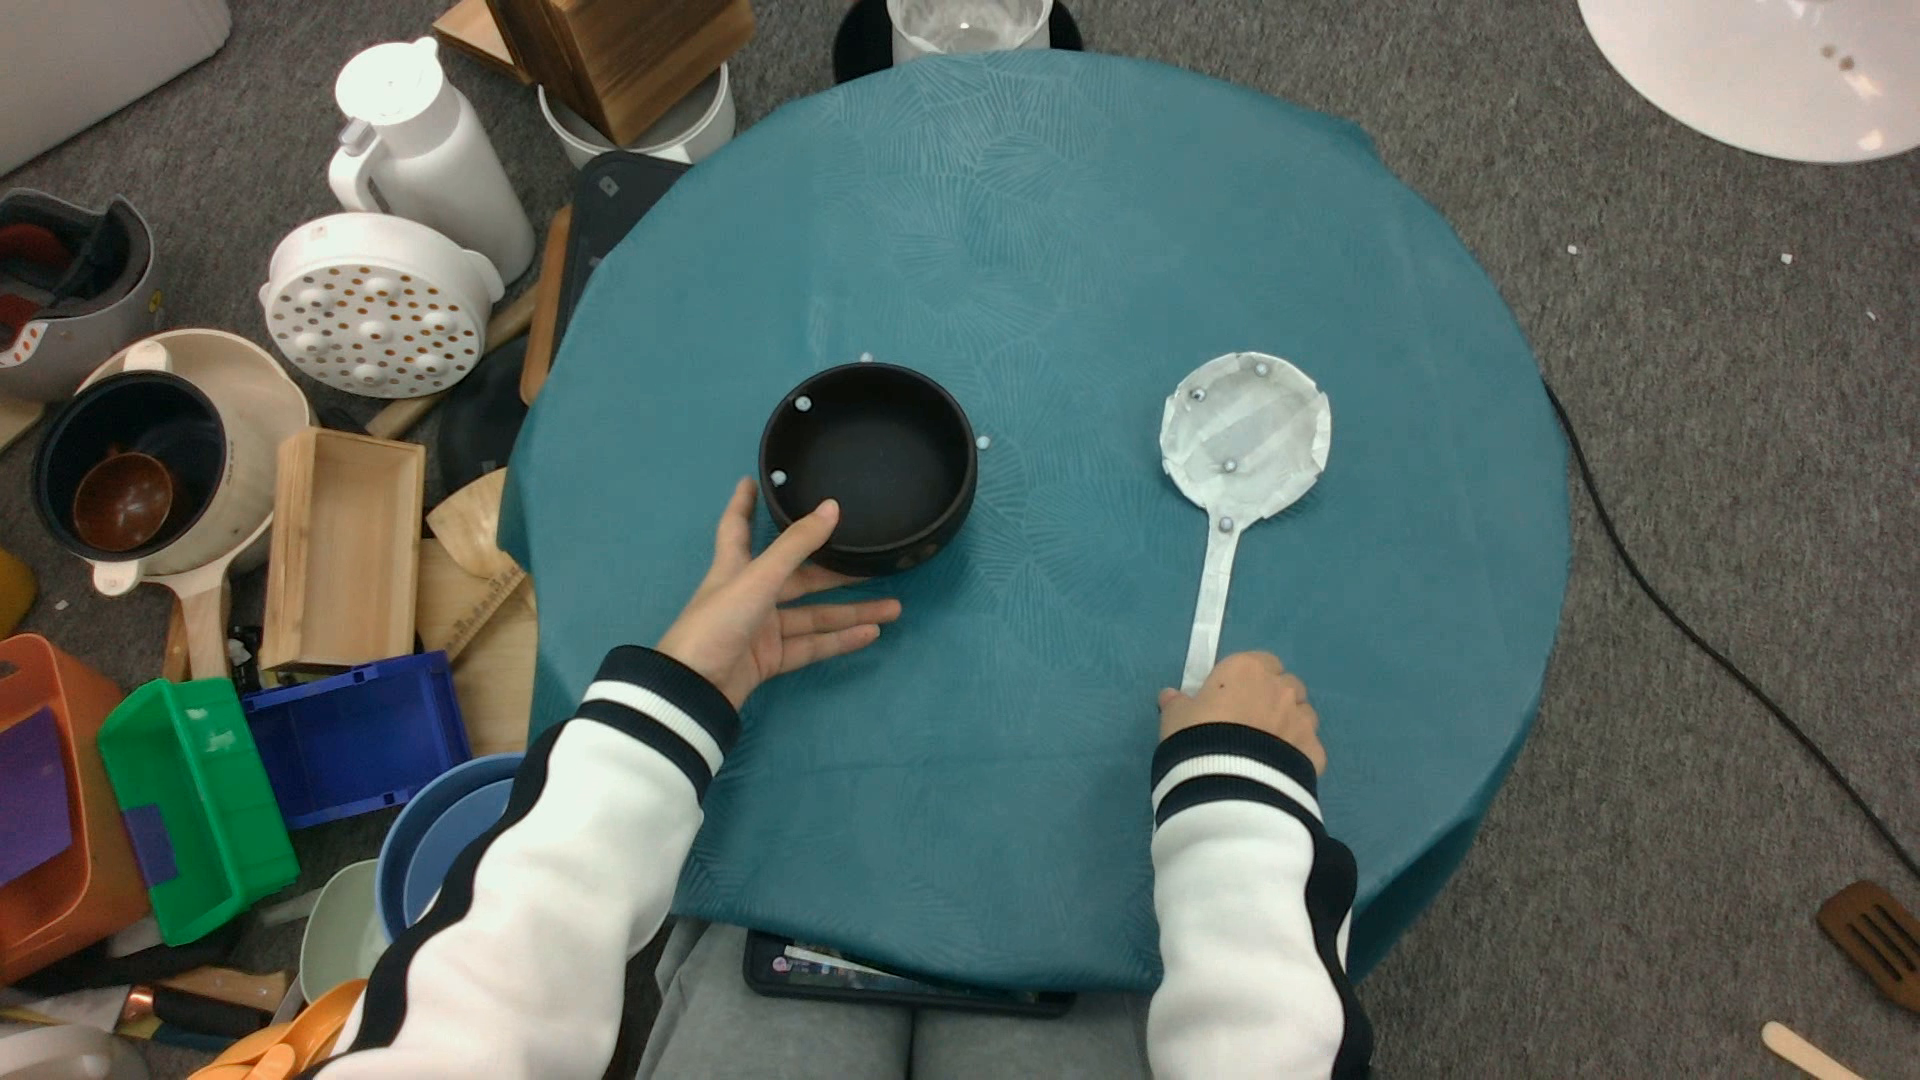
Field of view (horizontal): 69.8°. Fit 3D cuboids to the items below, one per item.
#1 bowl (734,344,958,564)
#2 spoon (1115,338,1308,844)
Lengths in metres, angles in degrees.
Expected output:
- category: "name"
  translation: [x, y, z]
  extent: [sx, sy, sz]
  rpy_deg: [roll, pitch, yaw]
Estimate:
- category: "bowl"
  translation: [-0.060, -0.040, 0.750]
  extent: [0.118, 0.069, 0.118]
  rpy_deg: [0, 67, -1]
- category: "spoon"
  translation: [0.117, 0.021, 0.736]
  extent: [0.100, 0.059, 0.278]
  rpy_deg: [13, 67, 10]
